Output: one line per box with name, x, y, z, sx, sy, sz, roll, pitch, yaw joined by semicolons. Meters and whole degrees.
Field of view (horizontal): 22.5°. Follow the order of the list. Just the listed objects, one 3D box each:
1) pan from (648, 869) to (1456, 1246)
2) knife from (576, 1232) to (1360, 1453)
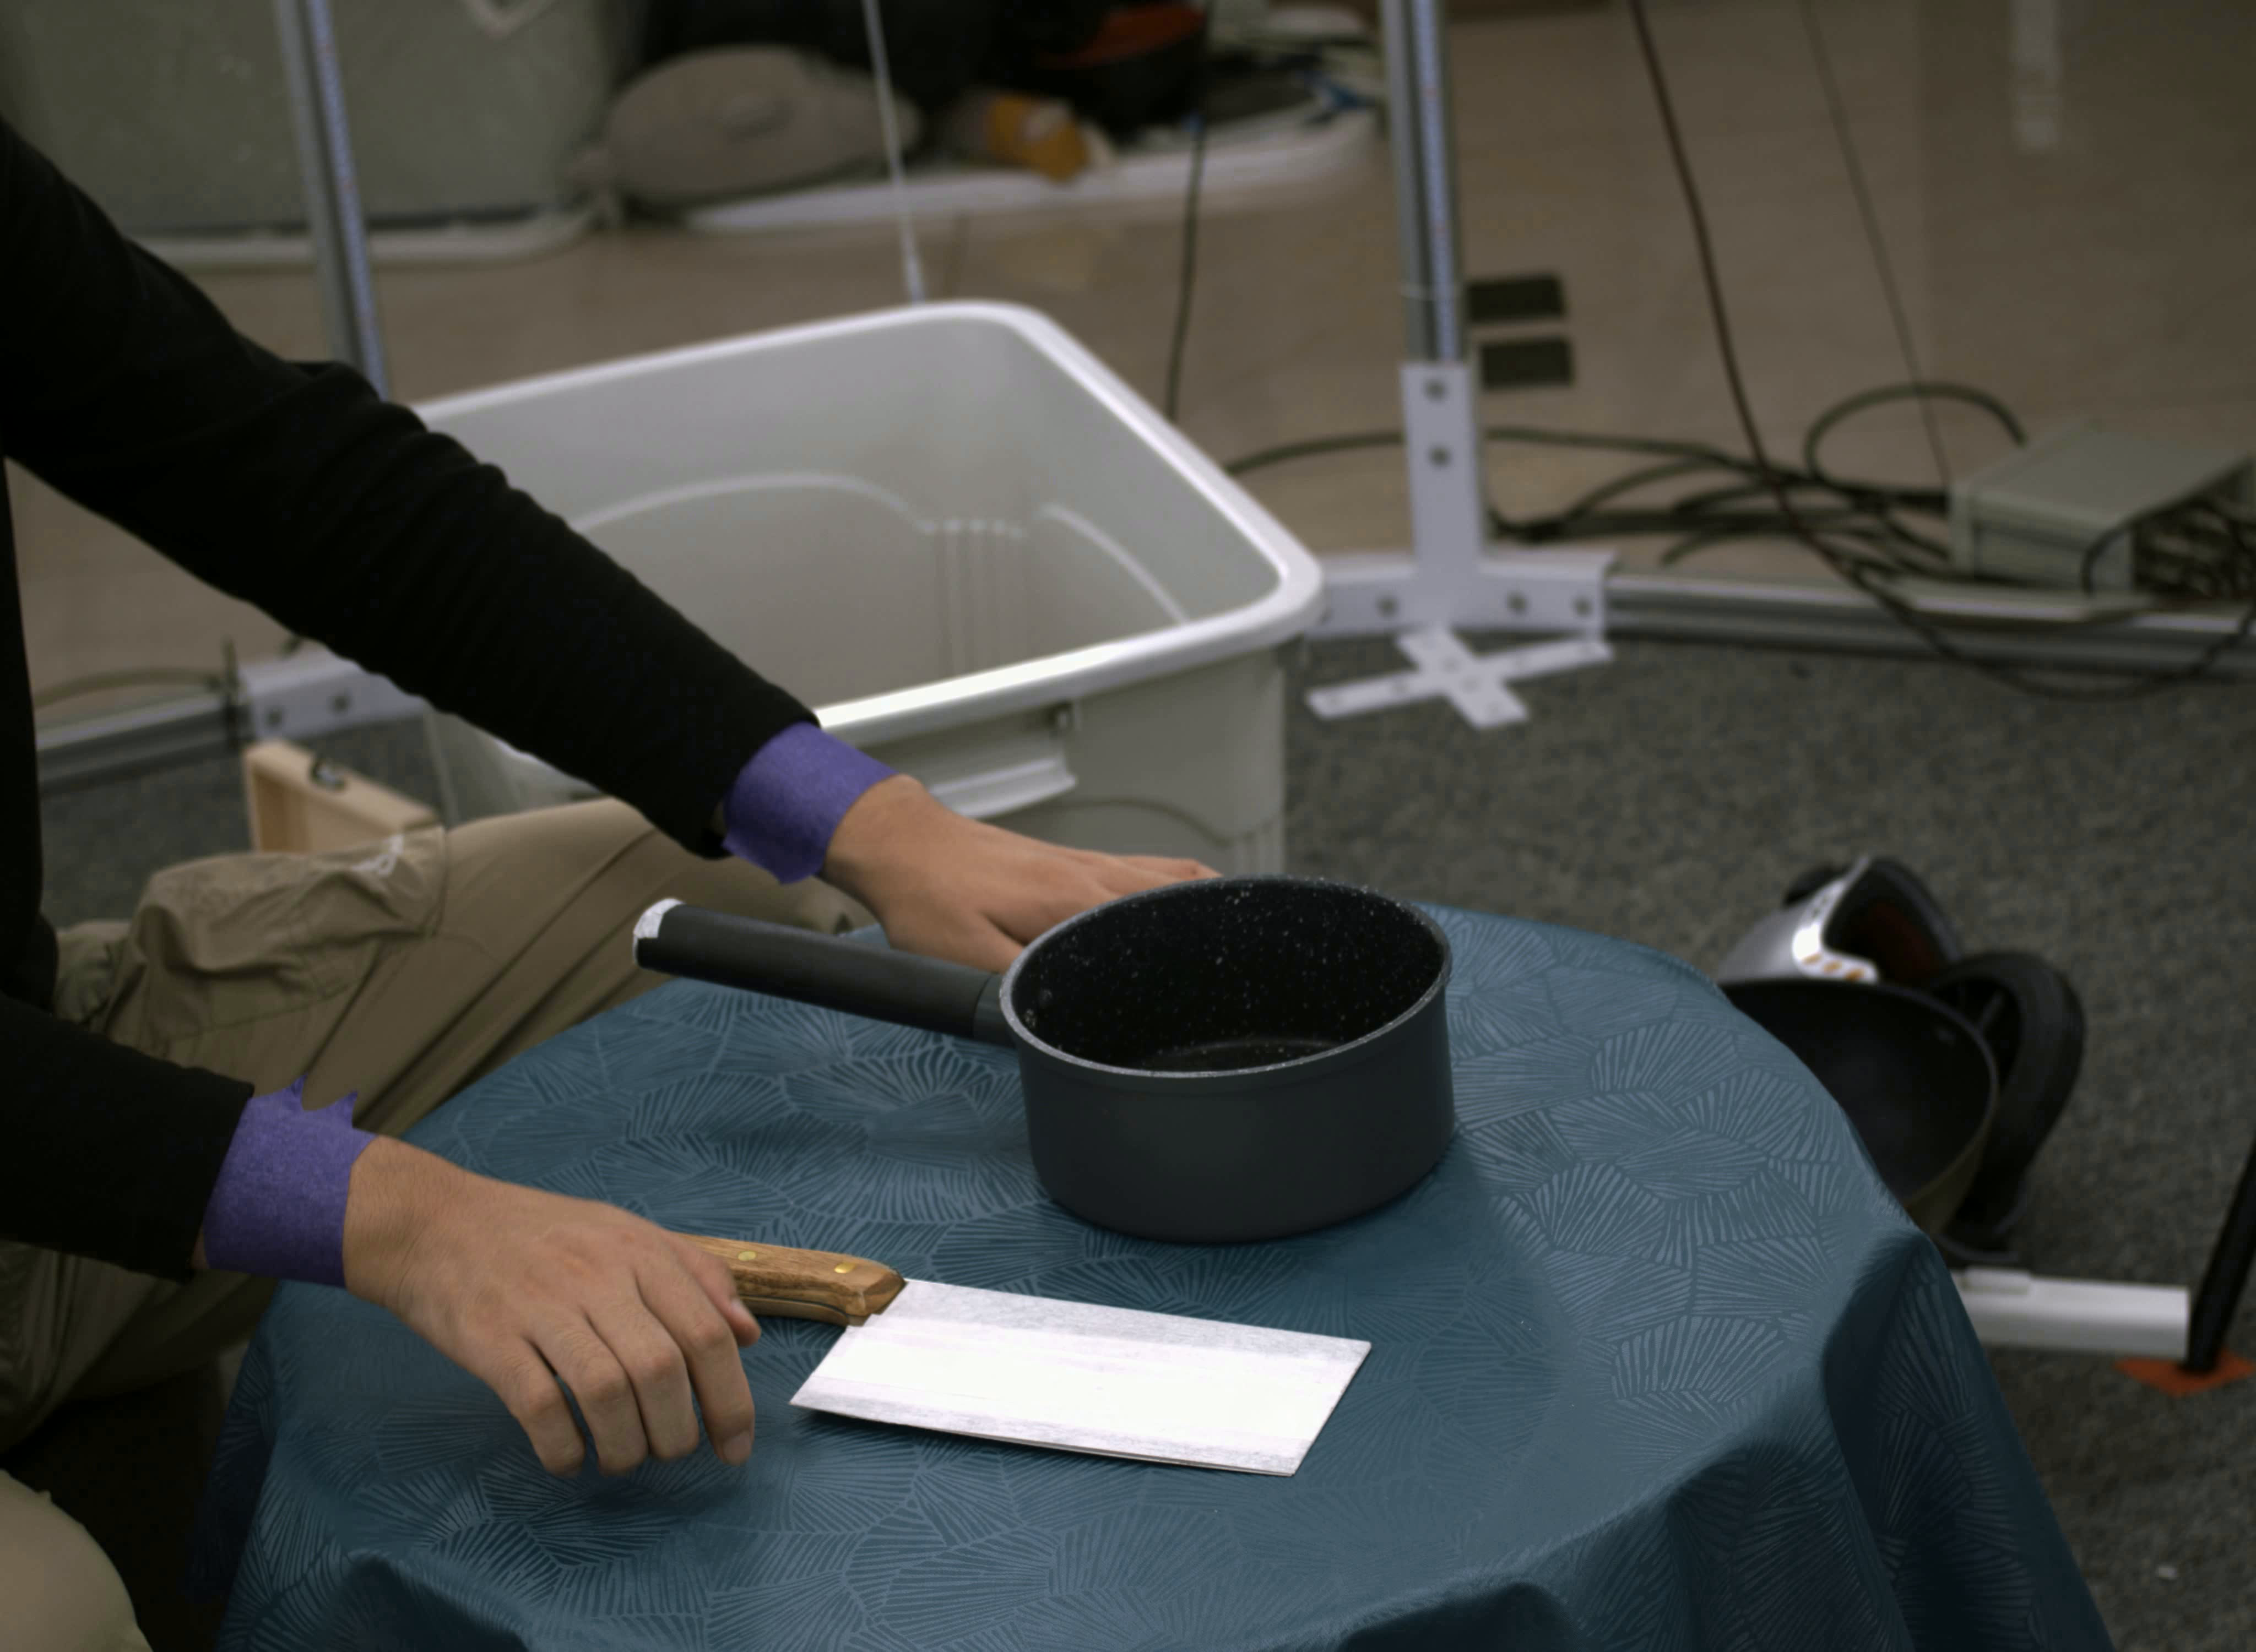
pan;-0.032;0.081;2.185;0.327;0.088;0.170;5;27;22
knife;-0.069;0.189;2.042;0.305;0.021;0.091;6;29;20
